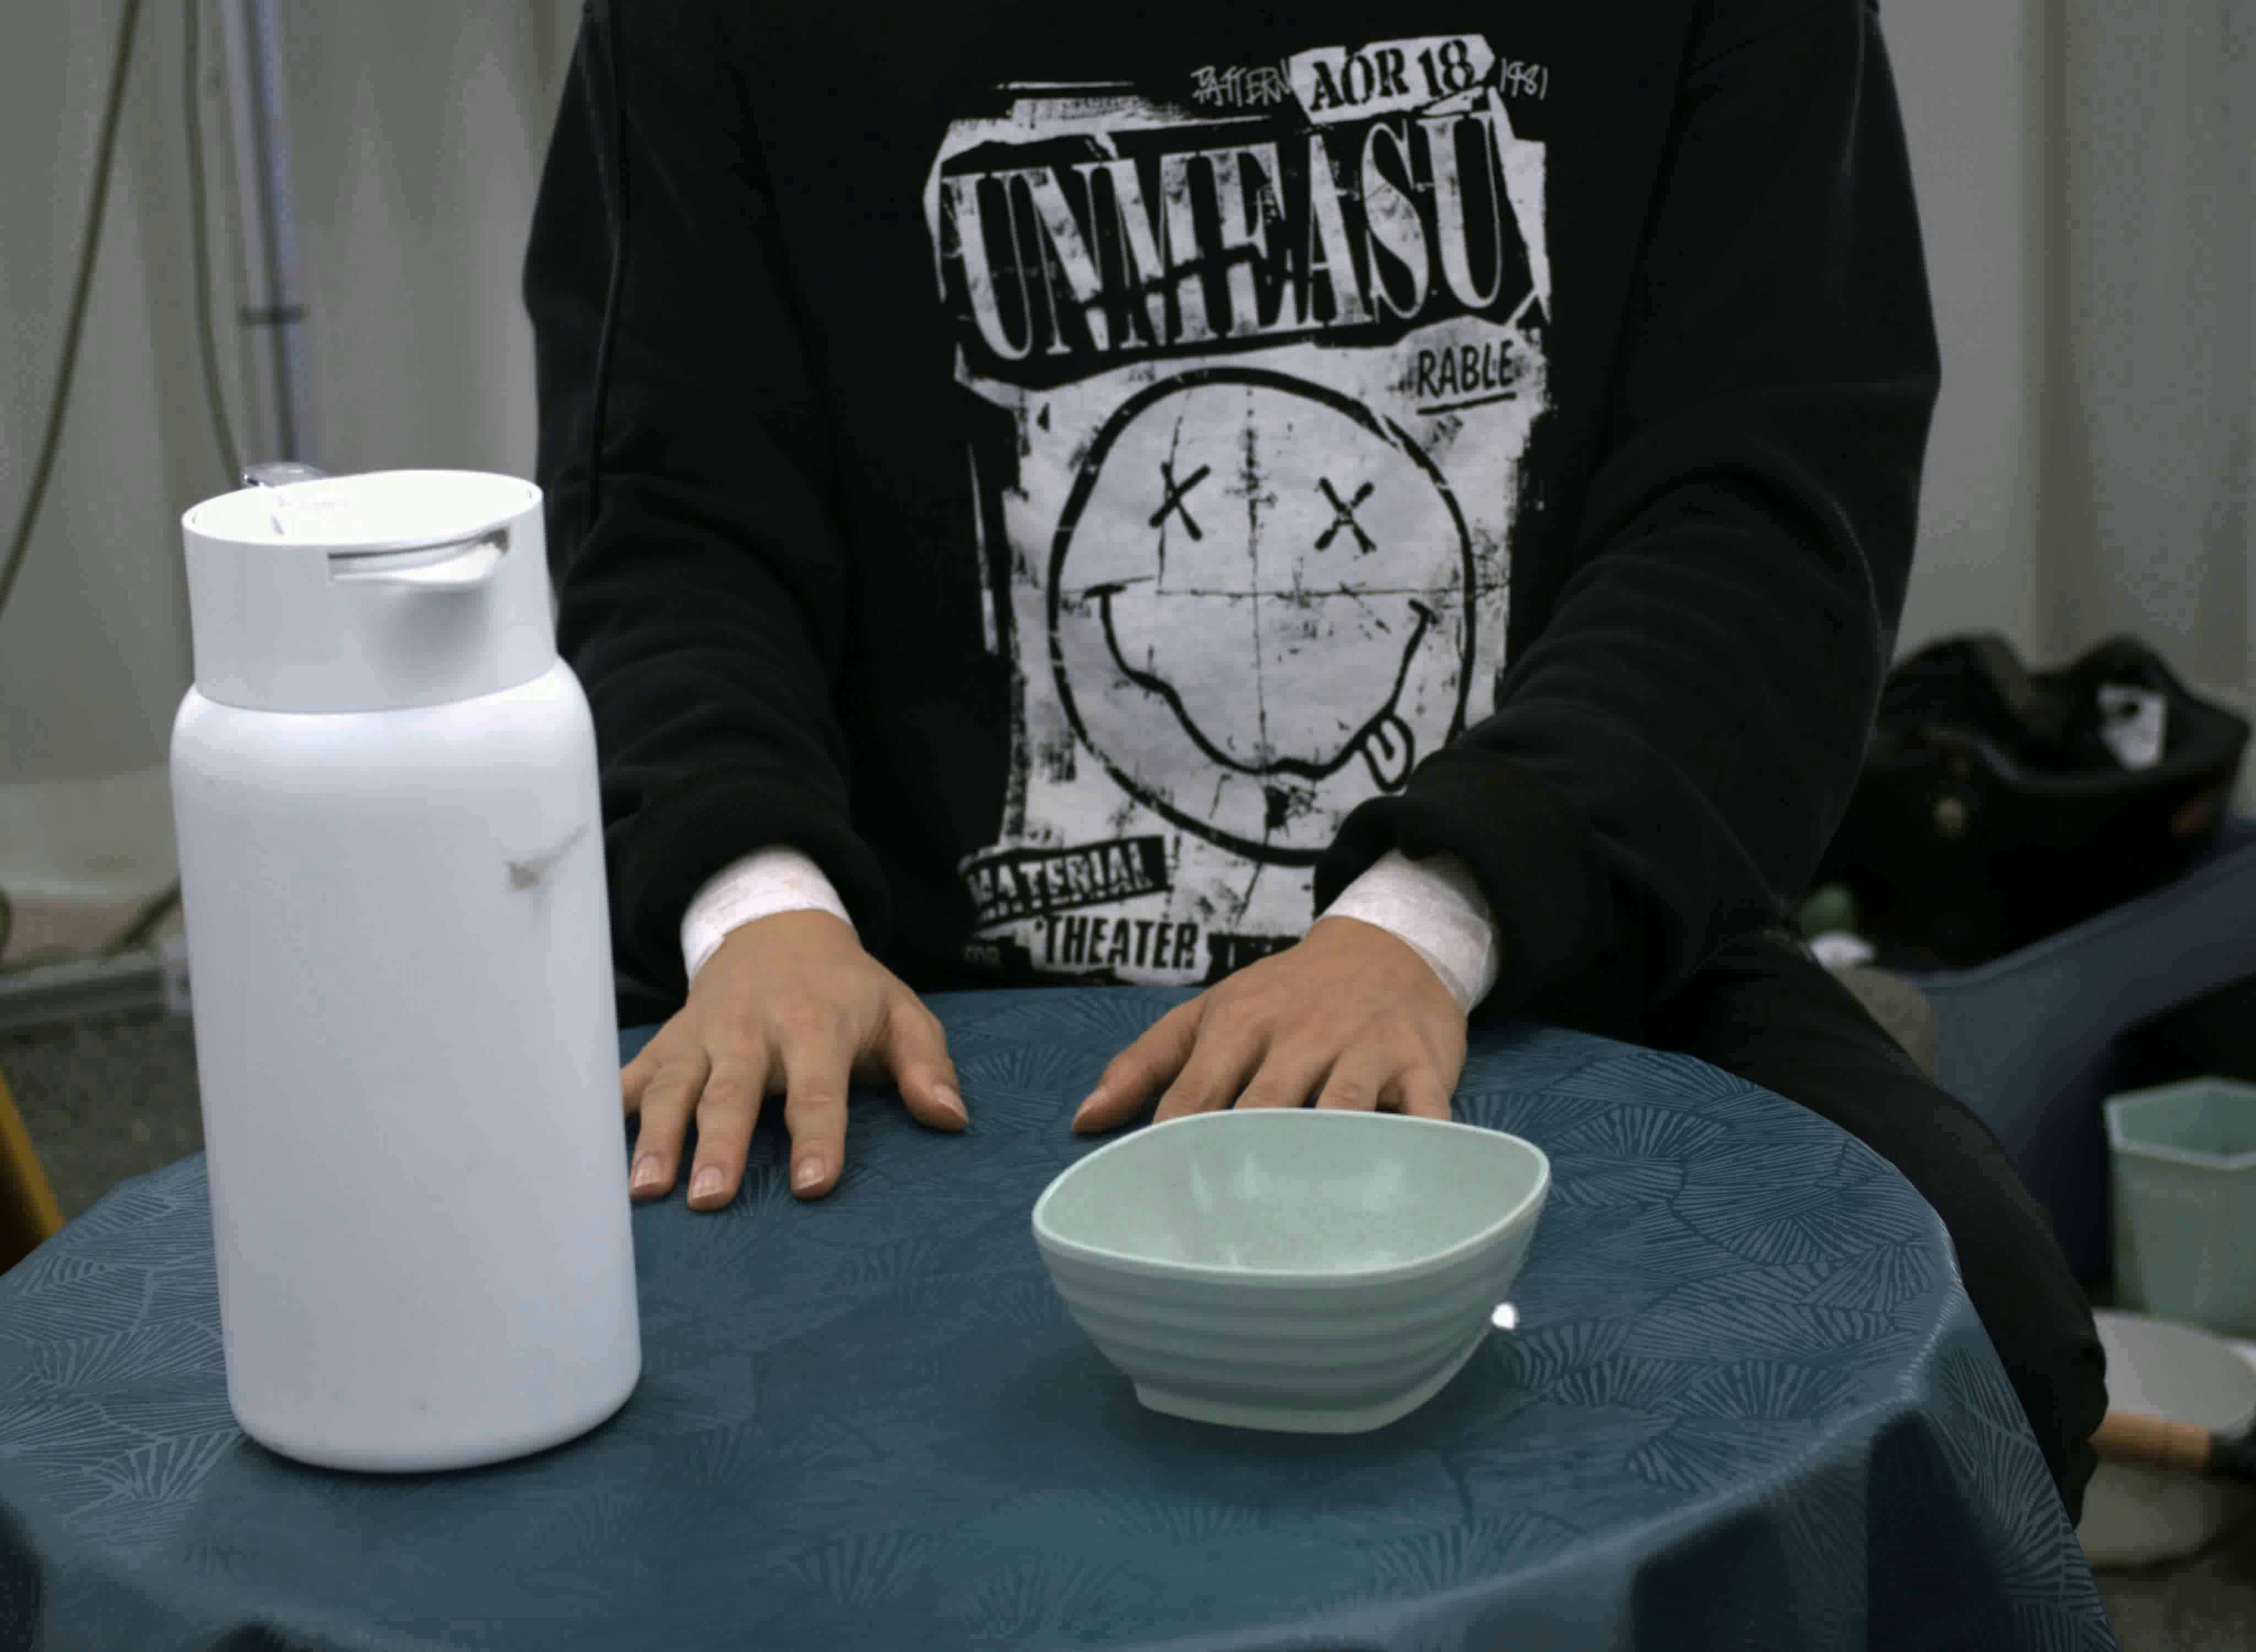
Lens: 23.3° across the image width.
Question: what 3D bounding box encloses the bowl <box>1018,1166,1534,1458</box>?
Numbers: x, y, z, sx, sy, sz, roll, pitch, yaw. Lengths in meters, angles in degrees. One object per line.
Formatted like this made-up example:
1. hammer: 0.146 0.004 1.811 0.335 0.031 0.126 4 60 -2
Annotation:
1. bowl: 0.043 0.139 1.539 0.151 0.058 0.152 -2 8 0

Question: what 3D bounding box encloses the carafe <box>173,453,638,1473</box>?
1. carafe: -0.212 0.035 1.540 0.123 0.268 0.174 -13 17 -28
